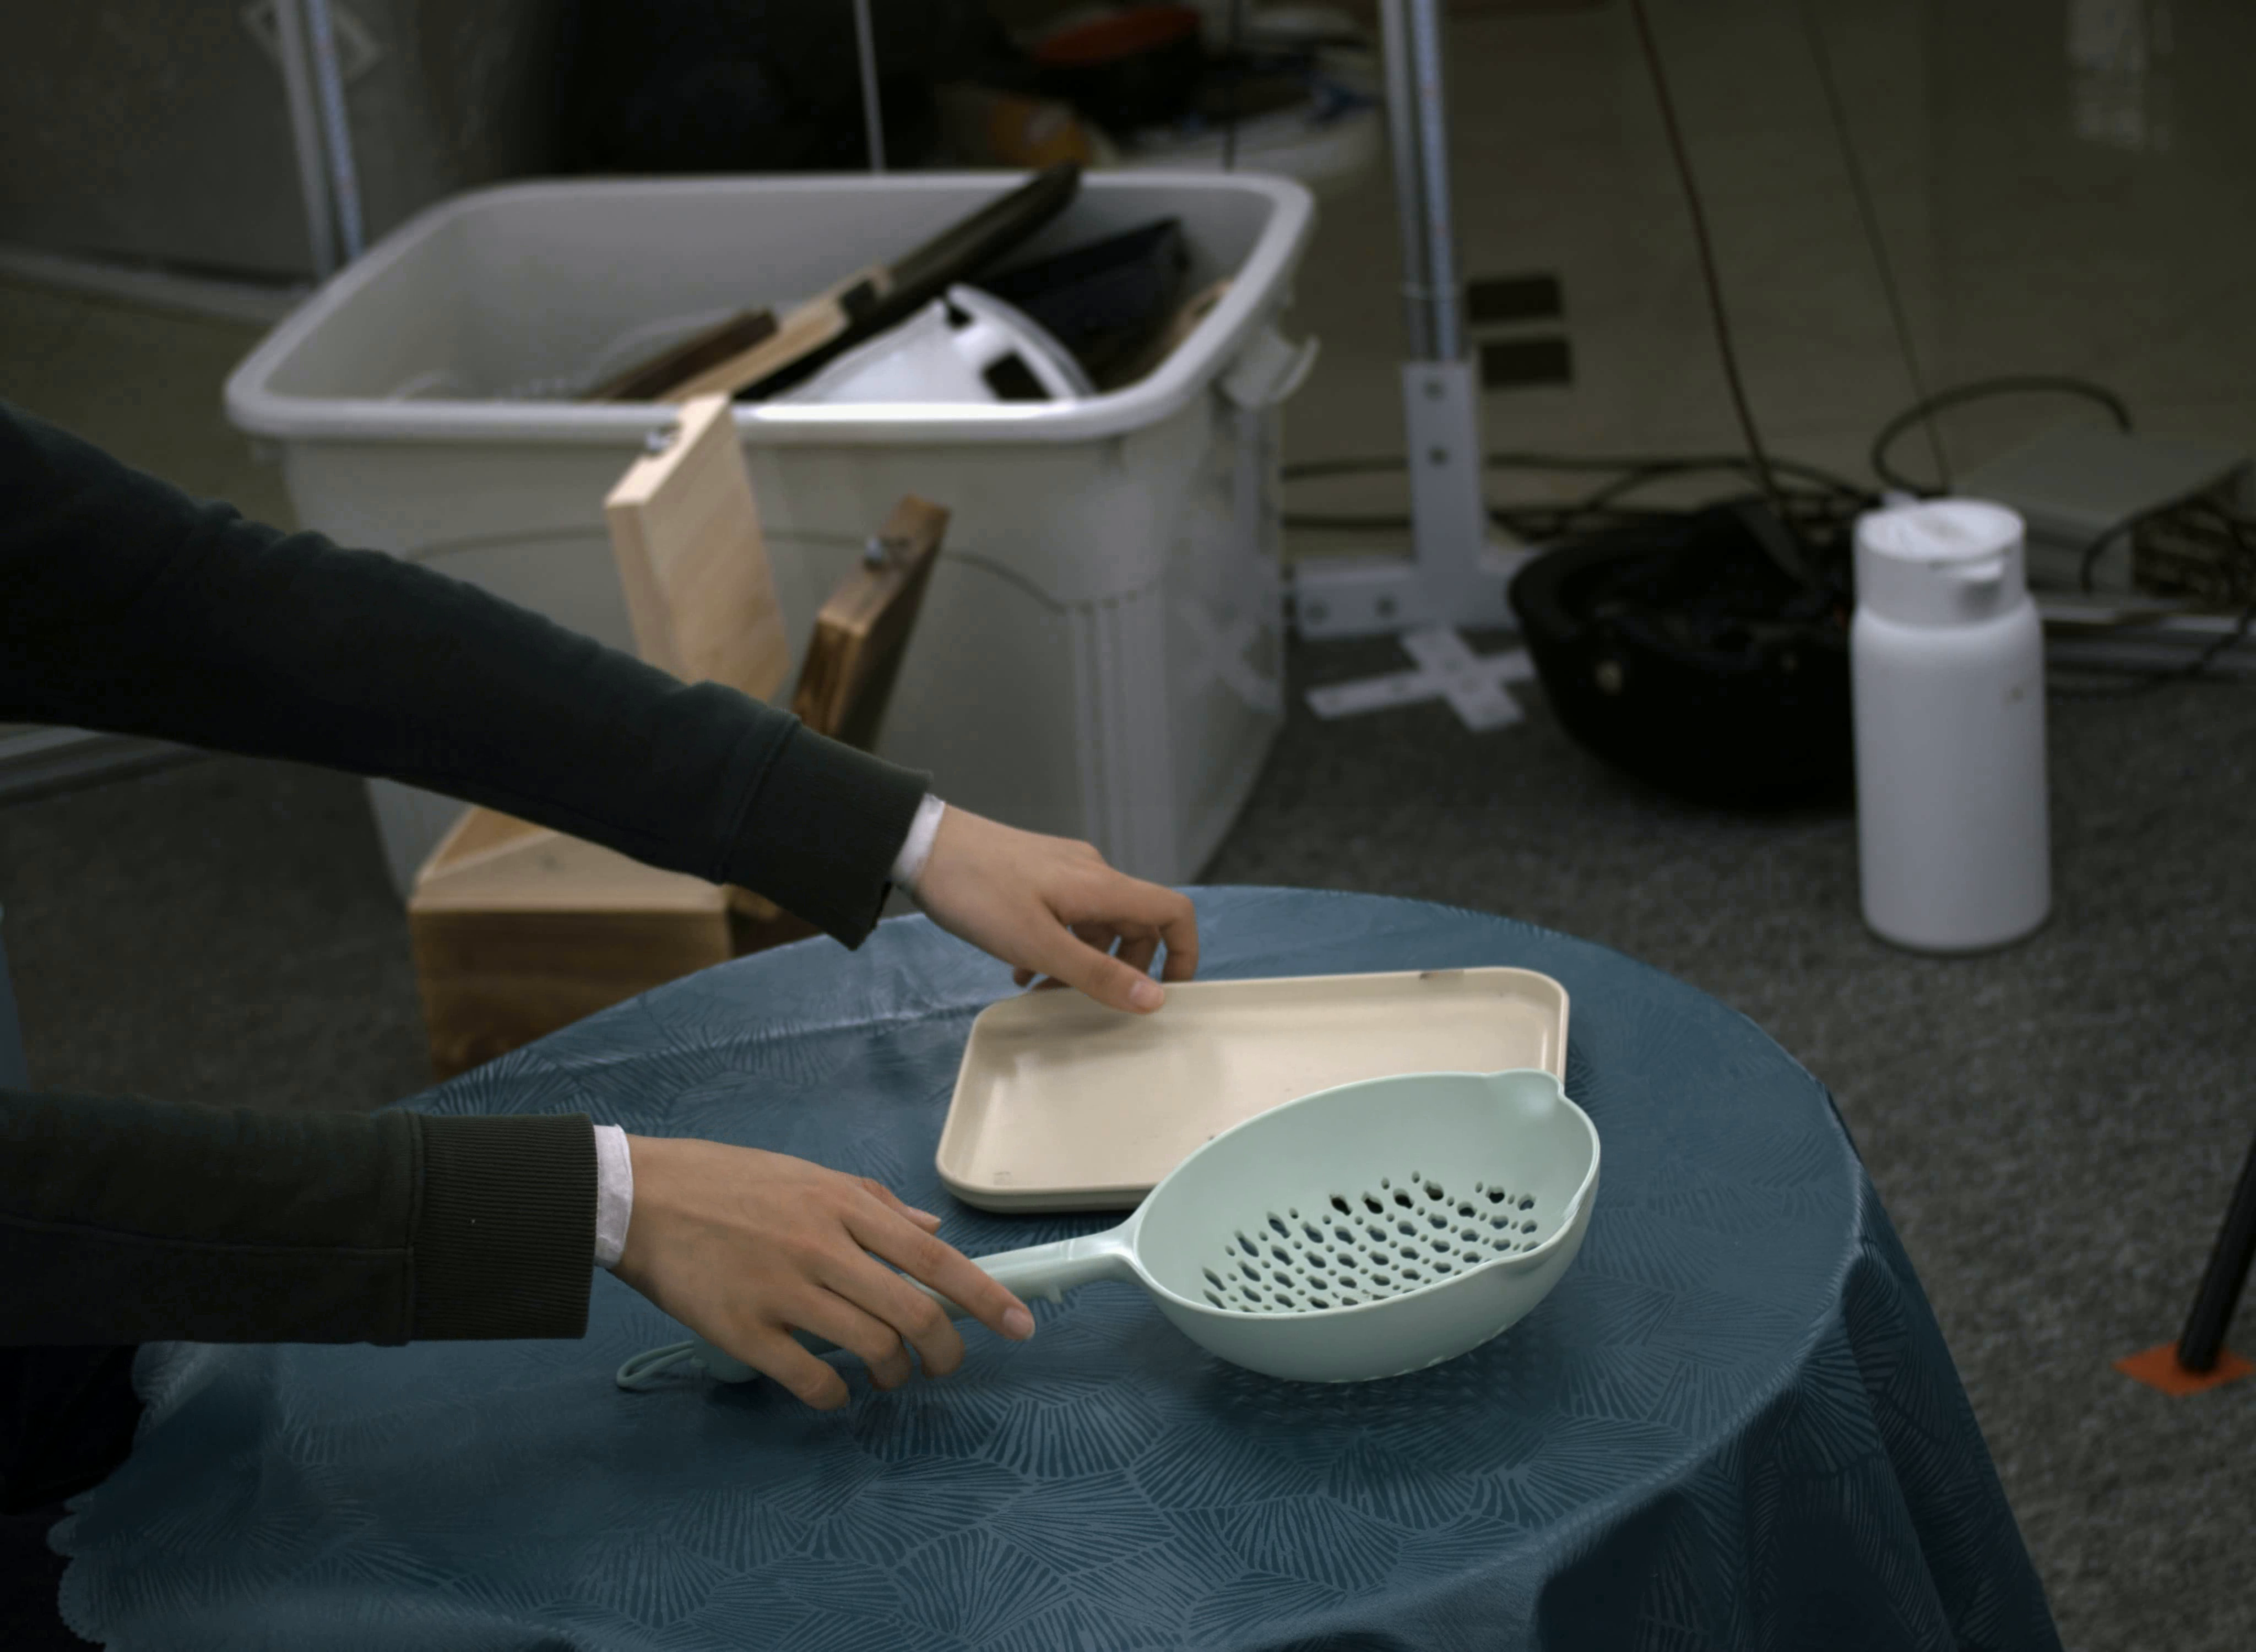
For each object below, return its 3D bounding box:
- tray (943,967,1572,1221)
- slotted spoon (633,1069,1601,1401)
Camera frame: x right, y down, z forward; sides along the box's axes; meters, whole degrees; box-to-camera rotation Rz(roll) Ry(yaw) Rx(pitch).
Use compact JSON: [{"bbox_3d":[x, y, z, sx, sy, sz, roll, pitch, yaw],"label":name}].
[{"bbox_3d":[0.053,0.105,2.194,0.239,0.018,0.169,-4,25,8],"label":"tray"},{"bbox_3d":[-0.007,0.161,2.033,0.358,0.076,0.167,-4,24,6],"label":"slotted spoon"}]
